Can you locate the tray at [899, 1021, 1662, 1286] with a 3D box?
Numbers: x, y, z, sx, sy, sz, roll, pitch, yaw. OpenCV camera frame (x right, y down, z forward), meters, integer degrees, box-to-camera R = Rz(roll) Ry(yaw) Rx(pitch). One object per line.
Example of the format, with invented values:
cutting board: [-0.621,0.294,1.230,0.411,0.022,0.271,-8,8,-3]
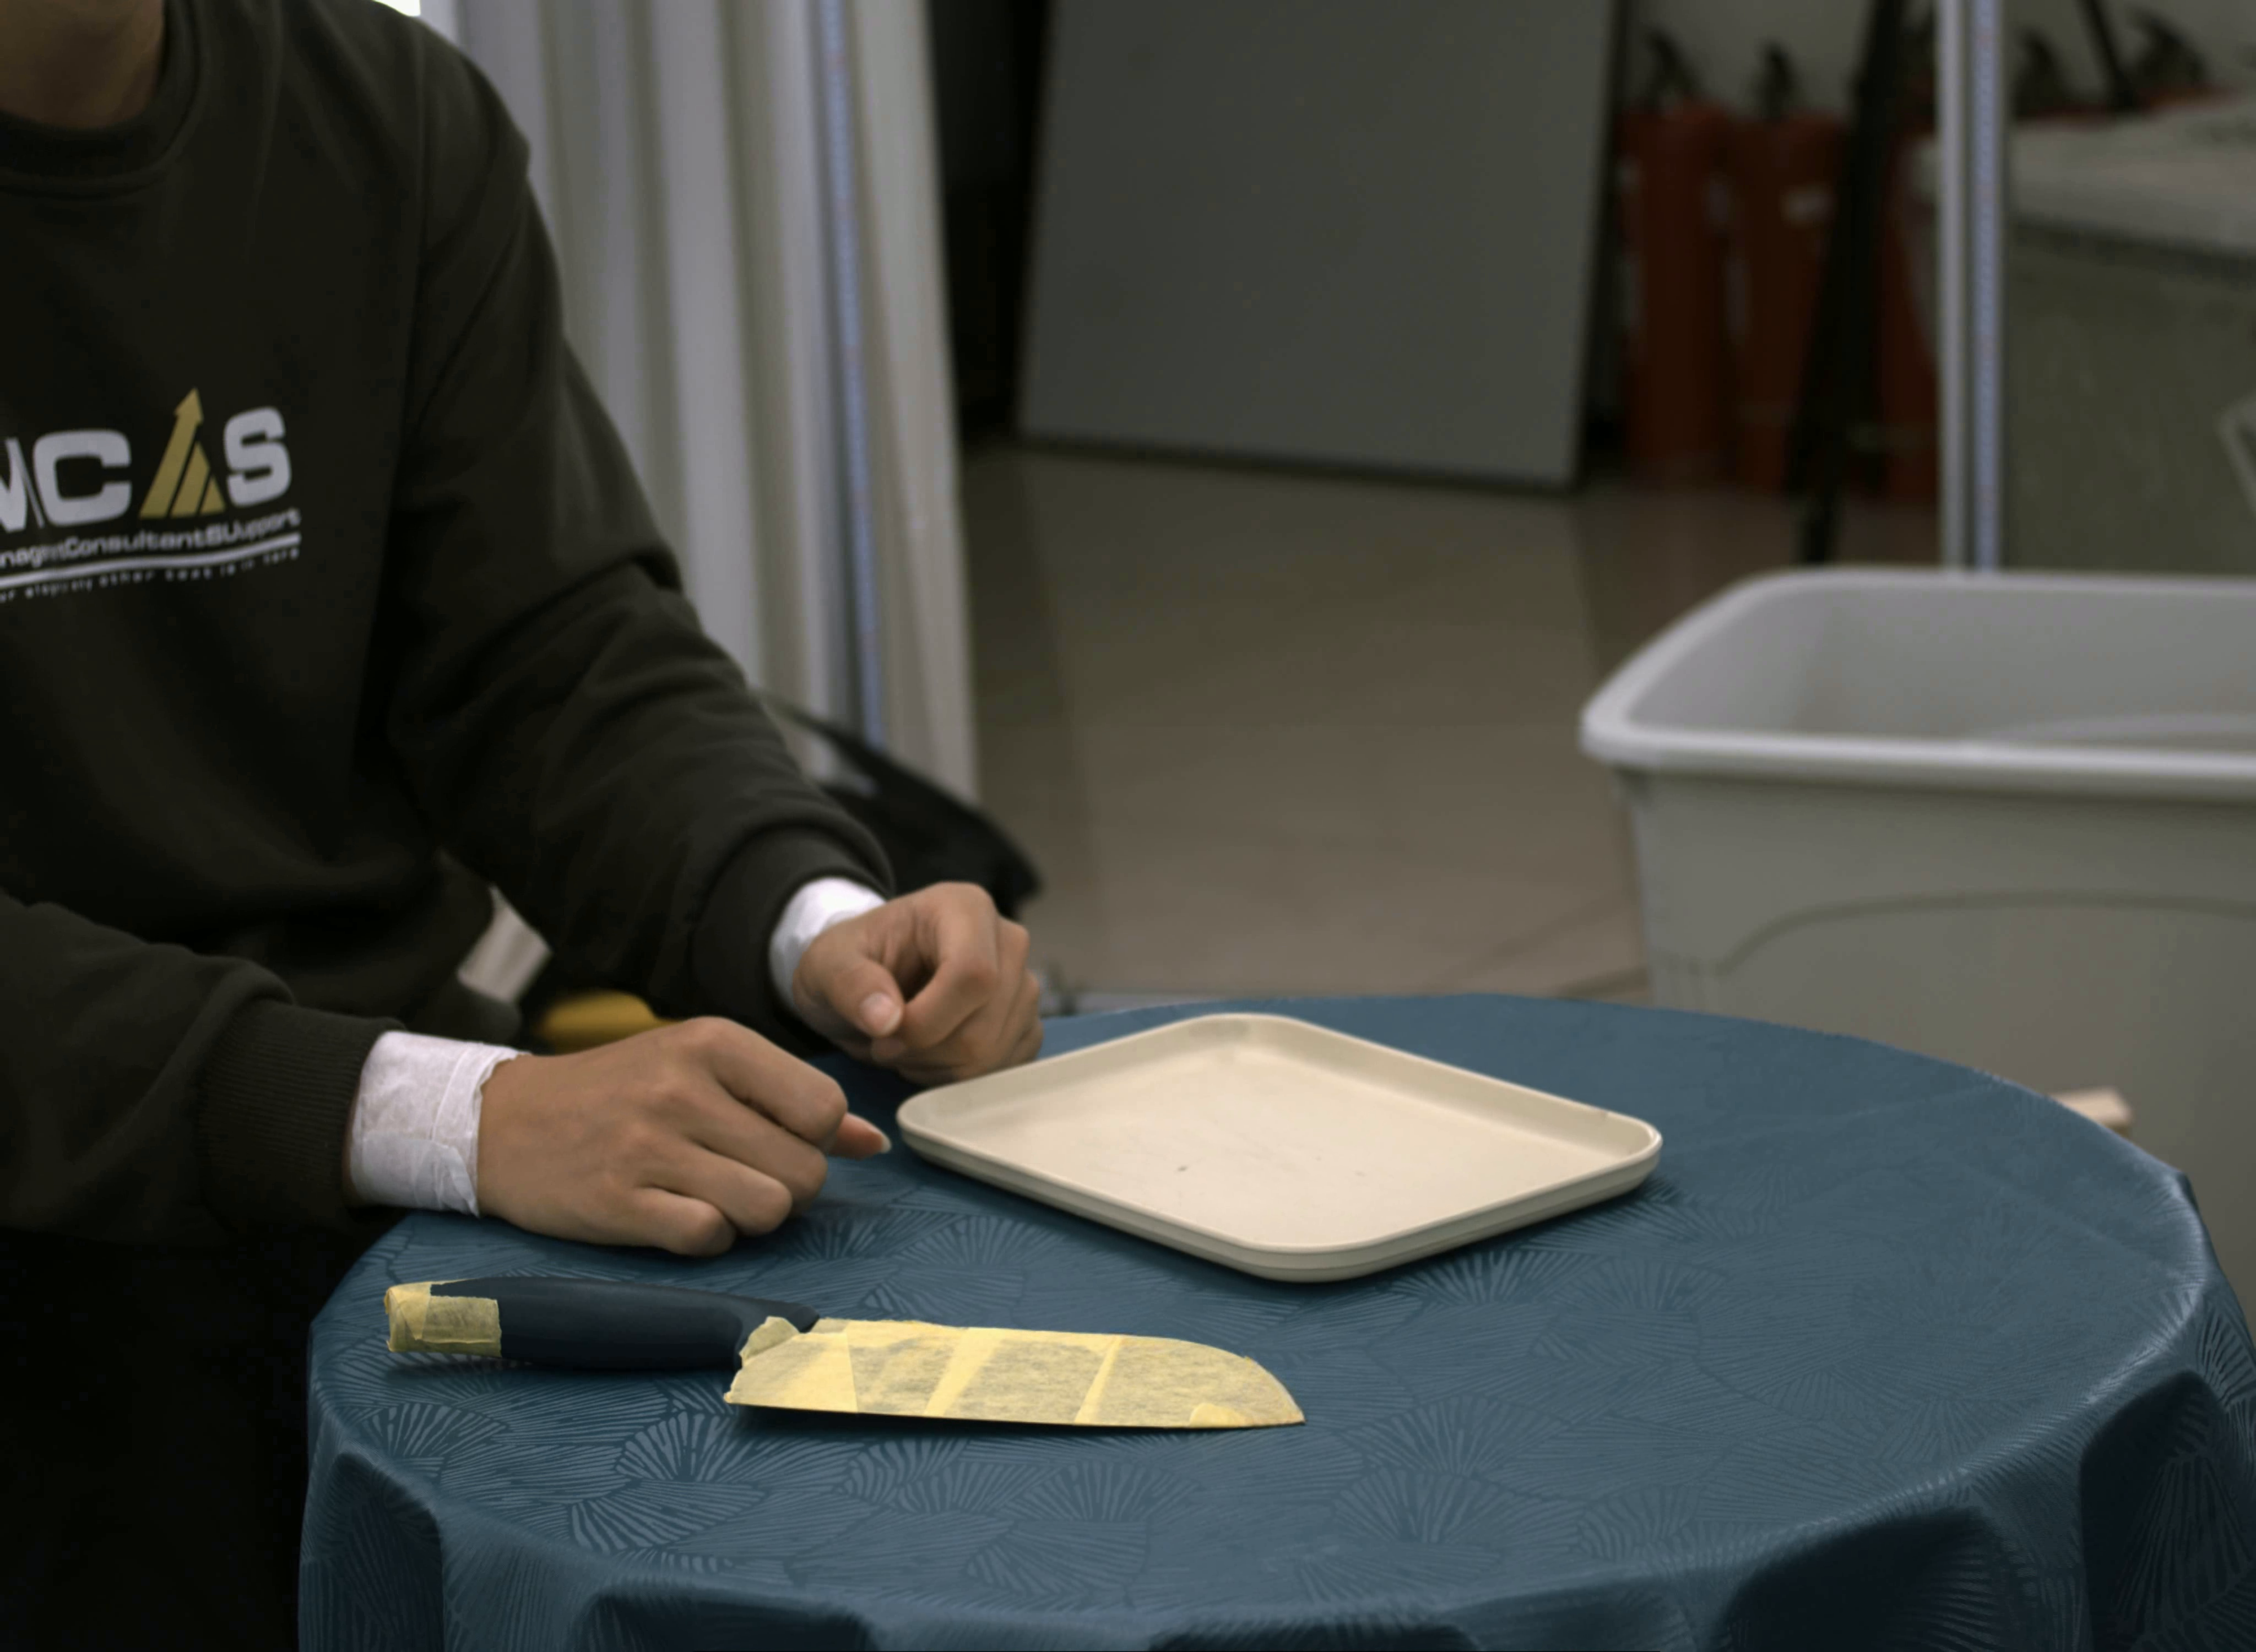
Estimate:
tray: [0.048,0.107,1.783,0.167,0.017,0.242,-14,16,-34]

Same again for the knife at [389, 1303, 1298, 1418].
knife: [-0.088,0.162,1.602,0.288,0.027,0.080,0,12,15]
